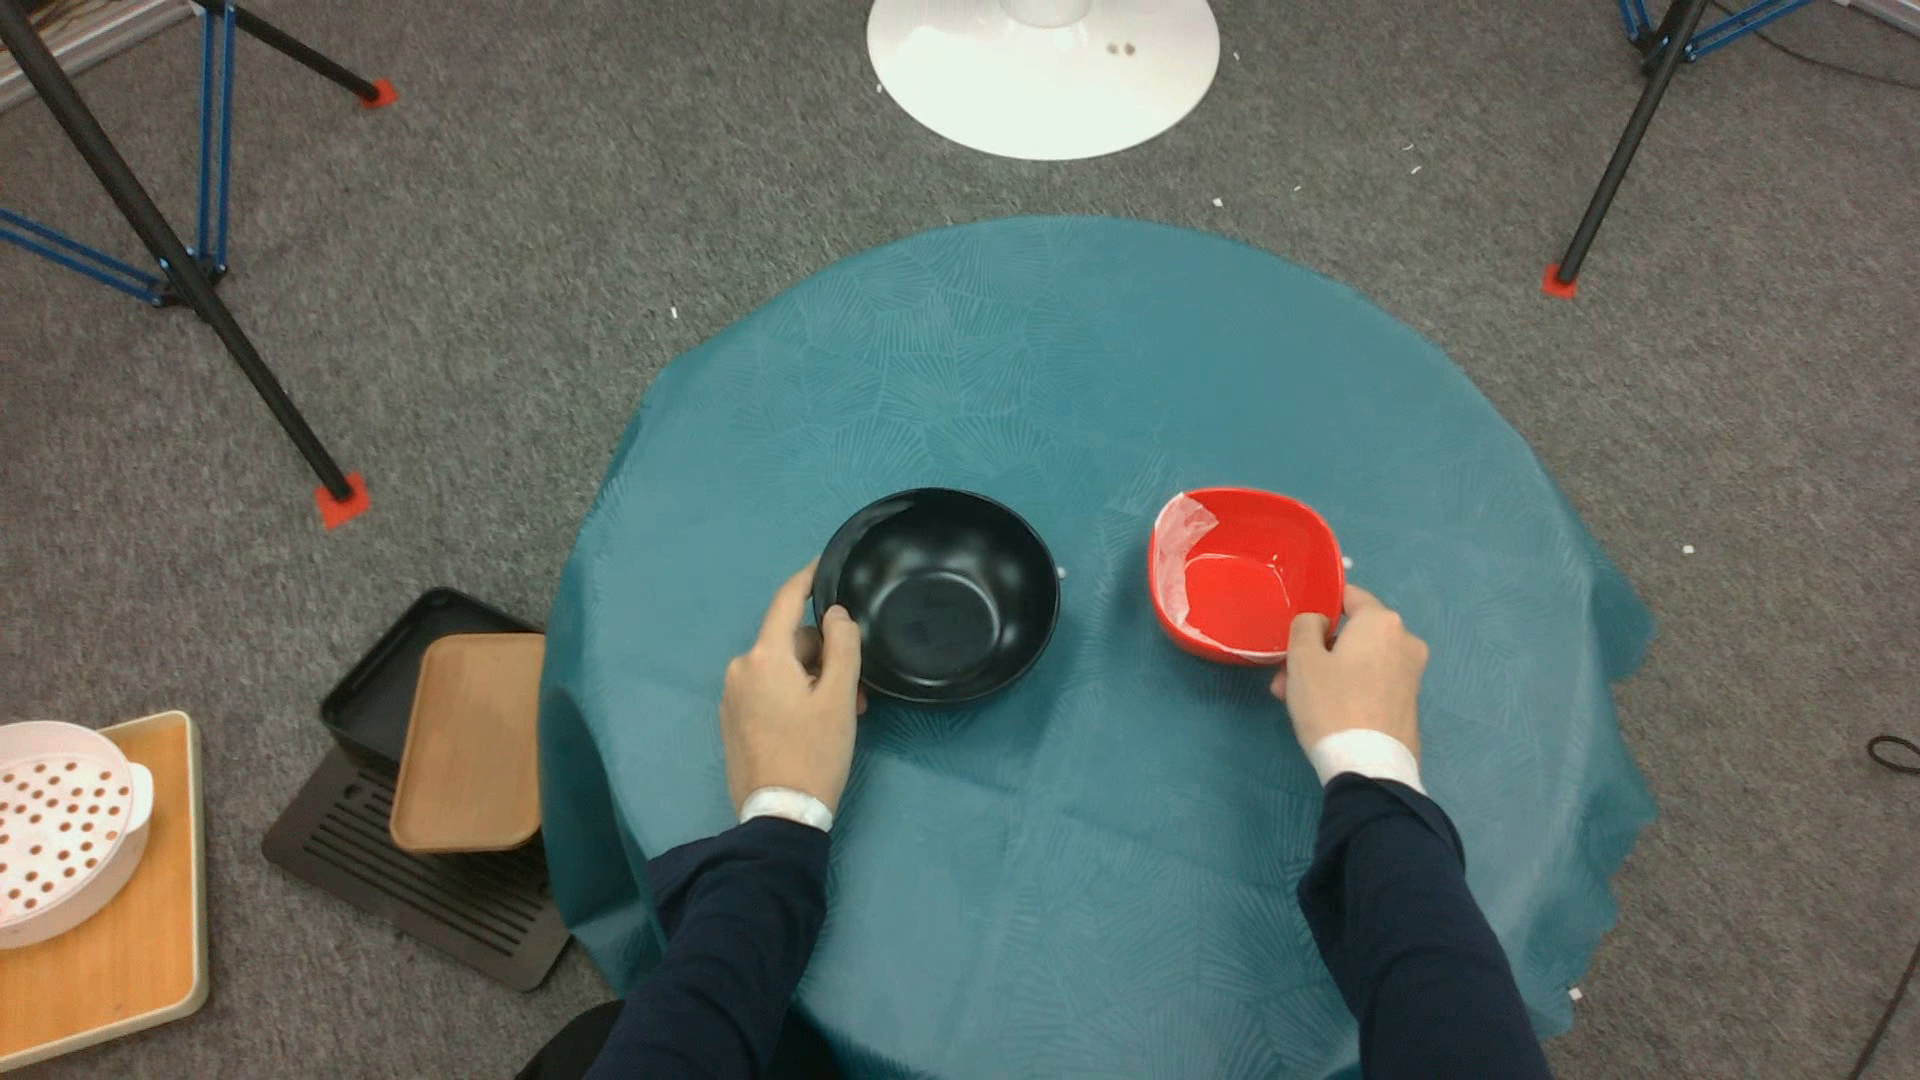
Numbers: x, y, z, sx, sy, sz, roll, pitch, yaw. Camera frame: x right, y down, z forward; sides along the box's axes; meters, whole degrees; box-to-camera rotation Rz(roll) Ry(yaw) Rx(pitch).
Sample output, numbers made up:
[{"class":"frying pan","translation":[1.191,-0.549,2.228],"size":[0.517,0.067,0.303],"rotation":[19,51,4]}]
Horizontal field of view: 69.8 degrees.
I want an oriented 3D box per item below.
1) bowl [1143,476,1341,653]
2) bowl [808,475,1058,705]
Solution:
[{"class":"bowl","translation":[0.156,0.022,0.788],"size":[0.119,0.051,0.119],"rotation":[2,56,-2]},{"class":"bowl","translation":[-0.015,0.035,0.783],"size":[0.140,0.049,0.140],"rotation":[0,62,0]}]
